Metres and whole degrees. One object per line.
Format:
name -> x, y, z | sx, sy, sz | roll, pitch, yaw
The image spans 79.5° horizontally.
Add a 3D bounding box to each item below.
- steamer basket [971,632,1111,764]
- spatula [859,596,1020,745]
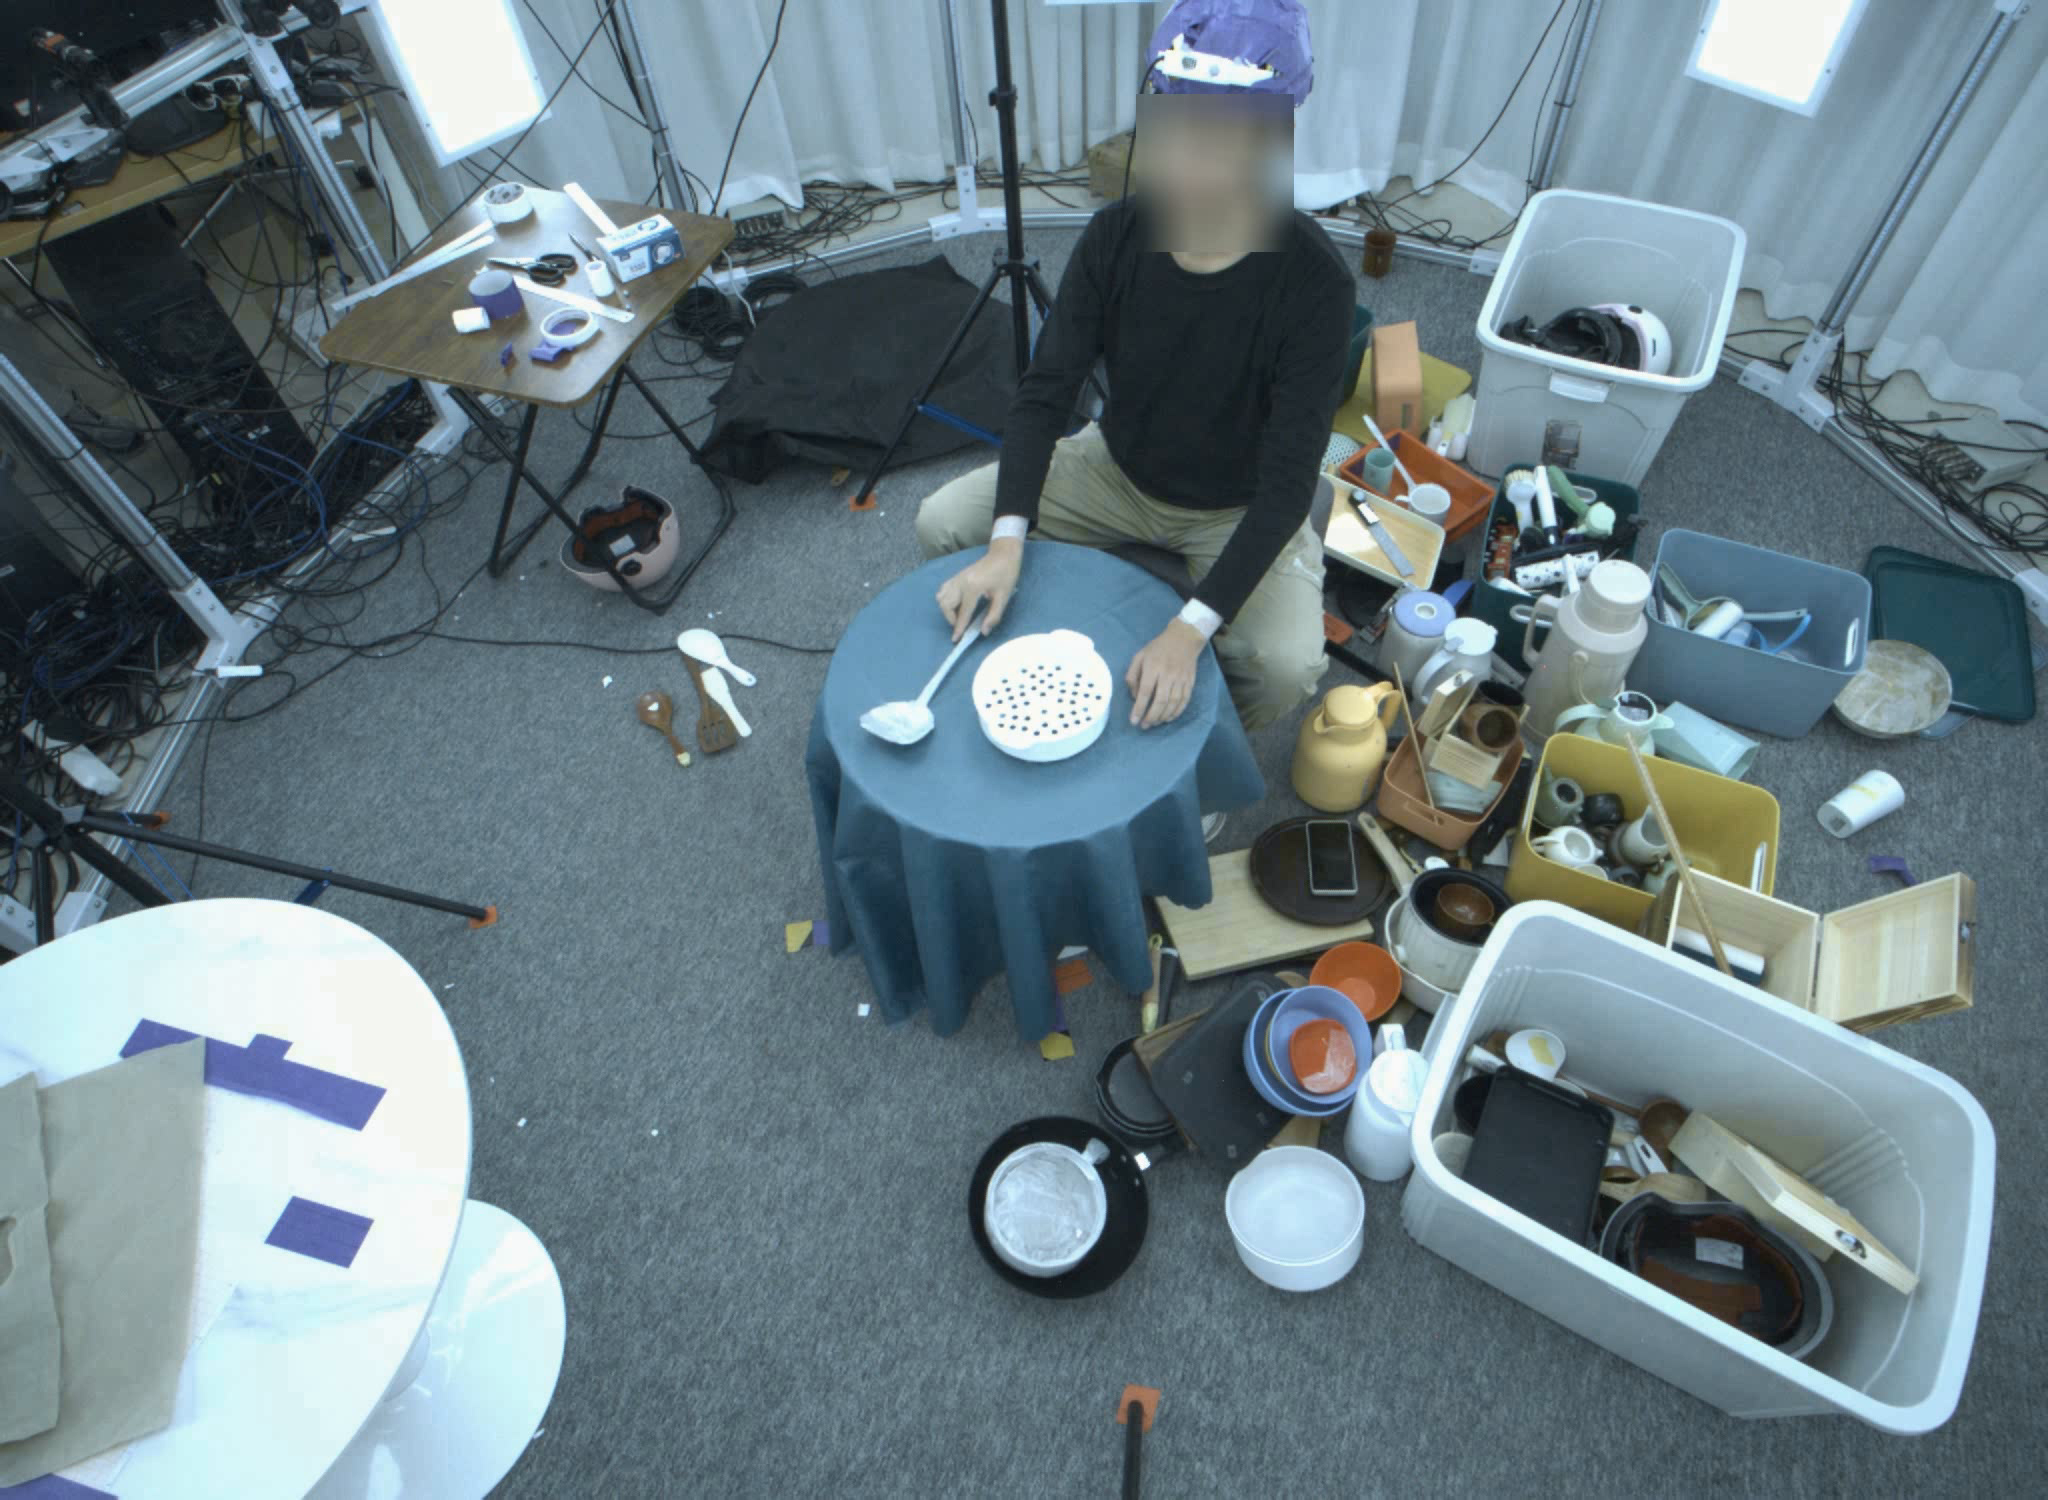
steamer basket -> 0.025, -0.072, 1.795 | 0.199, 0.070, 0.231 | 23, 57, 16
spatula -> -0.112, -0.135, 1.864 | 0.097, 0.045, 0.366 | 24, 59, 21
